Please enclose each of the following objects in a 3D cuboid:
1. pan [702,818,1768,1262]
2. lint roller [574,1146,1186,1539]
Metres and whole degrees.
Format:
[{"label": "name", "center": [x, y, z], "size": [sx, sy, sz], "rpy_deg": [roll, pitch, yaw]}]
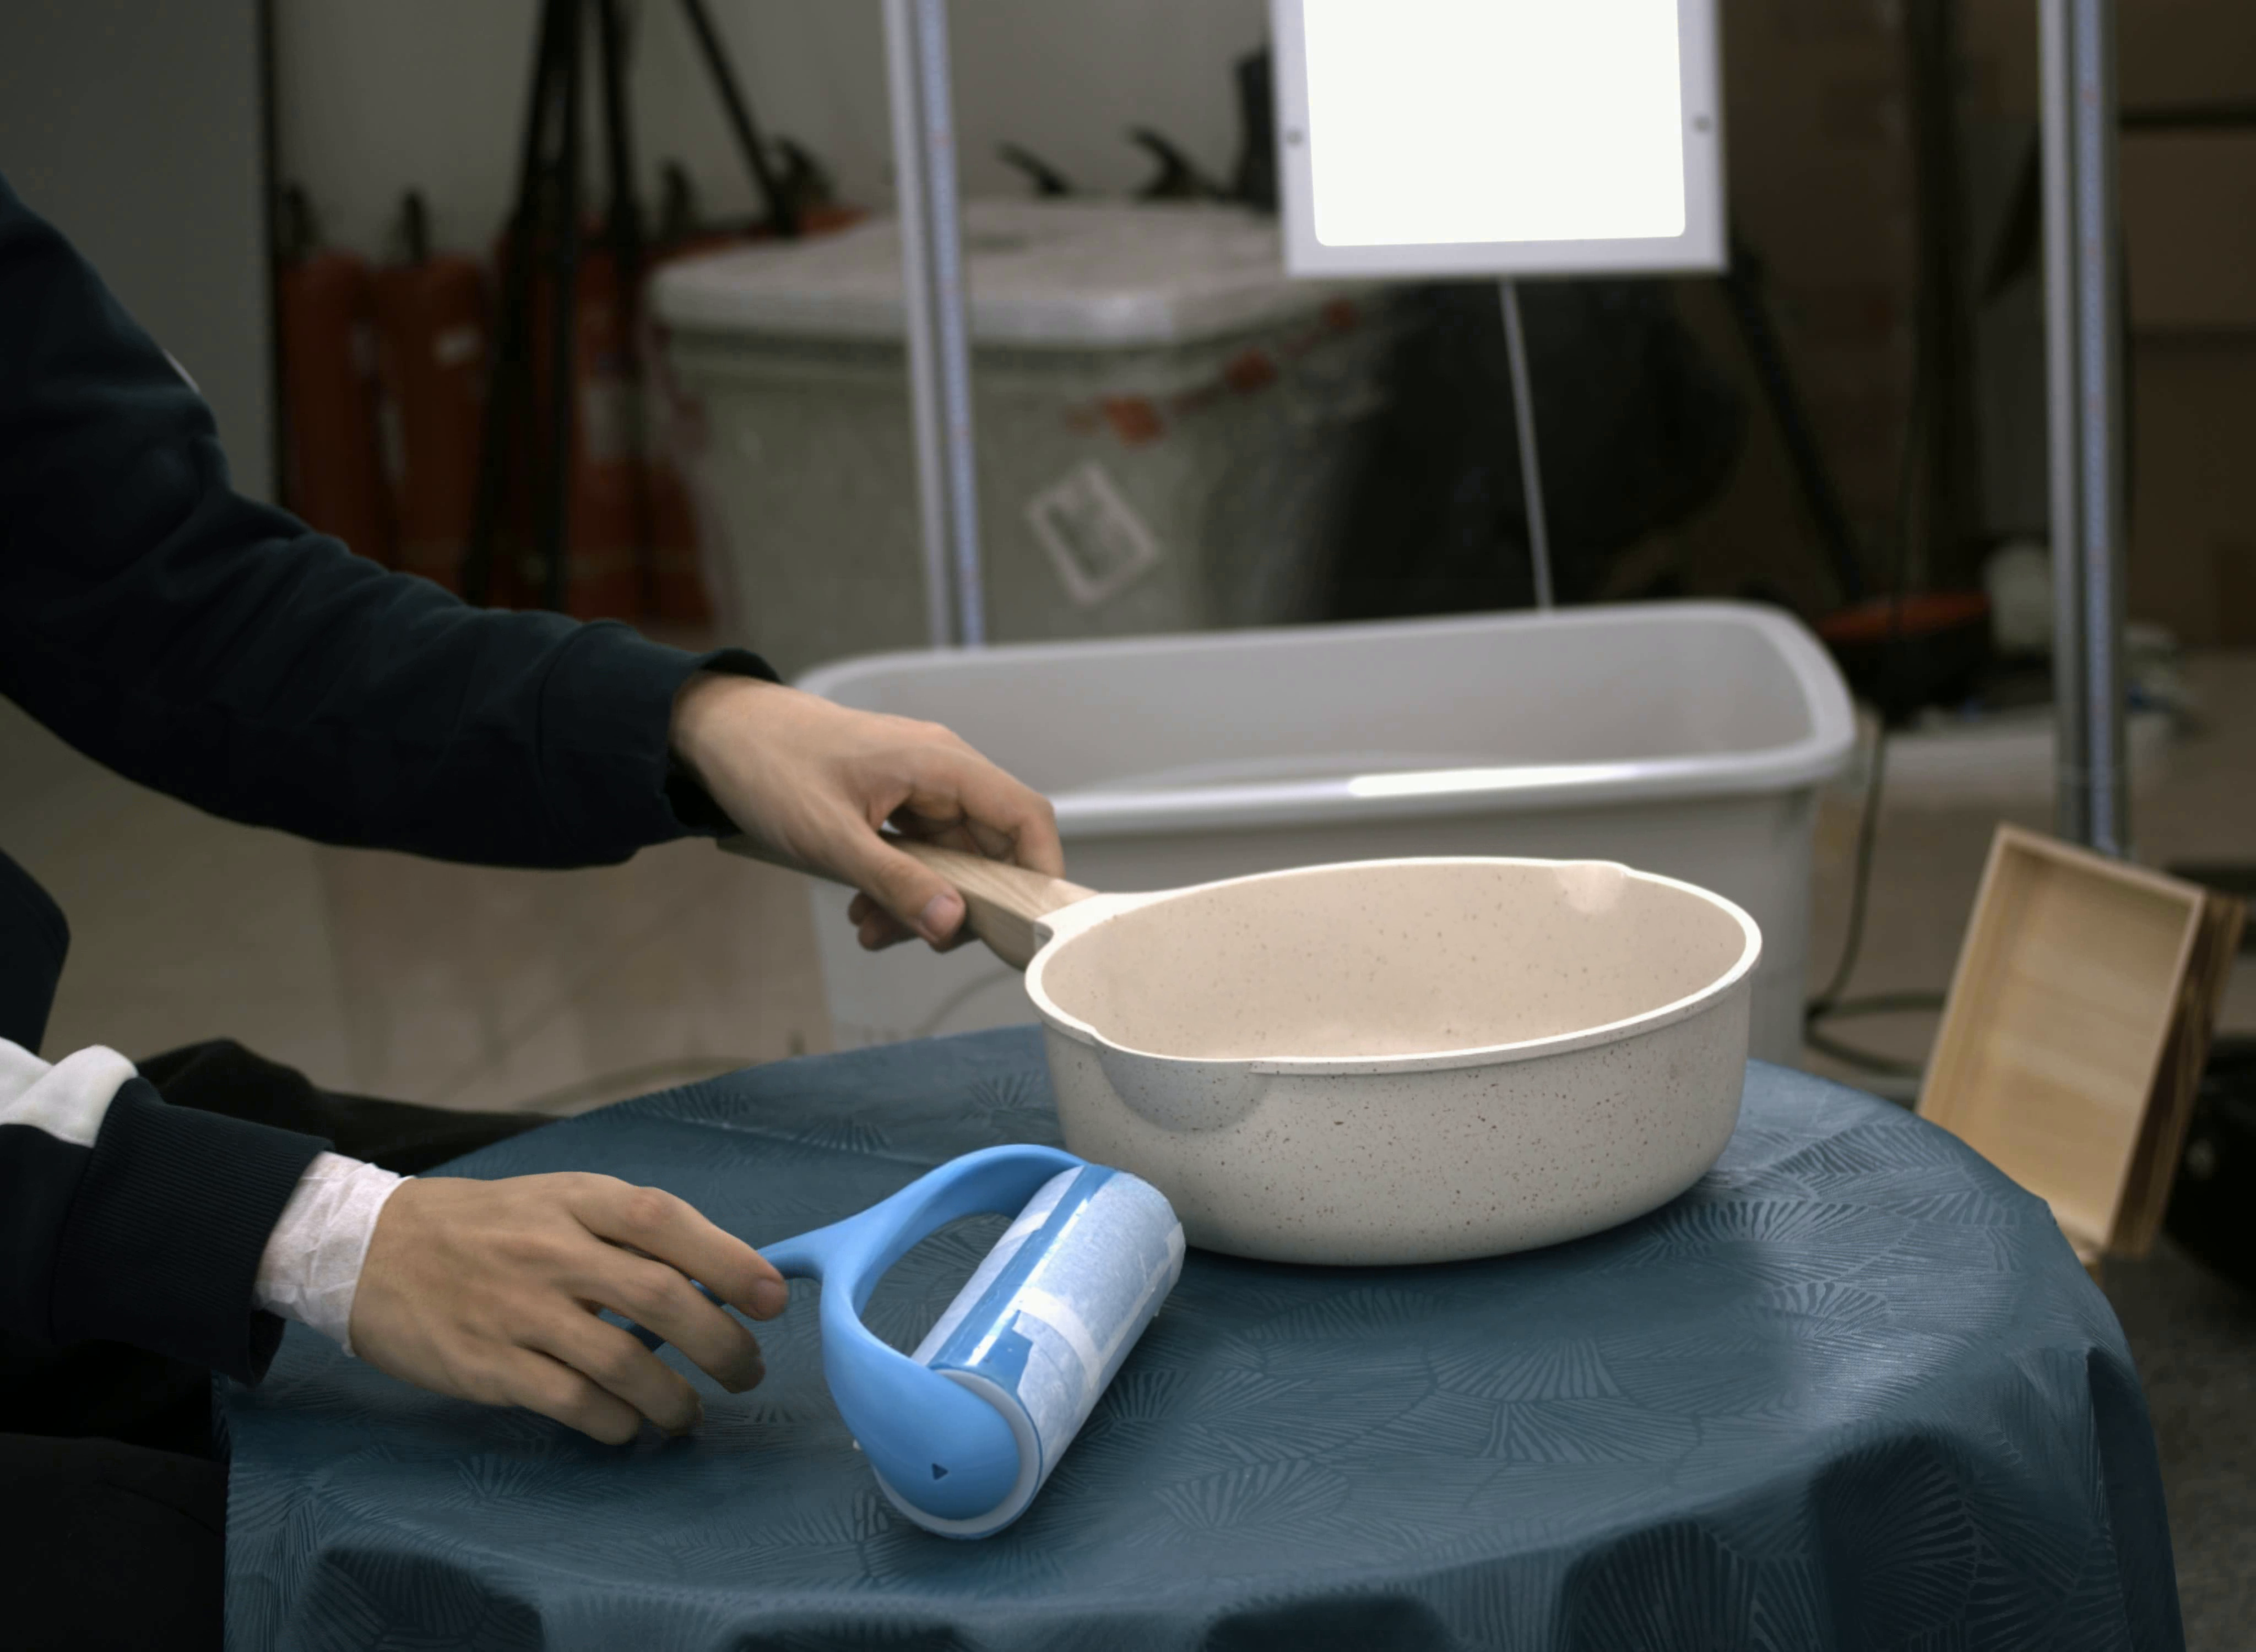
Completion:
[{"label": "pan", "center": [0.023, 0.064, 1.931], "size": [0.444, 0.102, 0.257], "rpy_deg": [6, 19, 39]}, {"label": "lint roller", "center": [-0.085, 0.156, 1.685], "size": [0.181, 0.068, 0.226], "rpy_deg": [-1, 16, 11]}]
